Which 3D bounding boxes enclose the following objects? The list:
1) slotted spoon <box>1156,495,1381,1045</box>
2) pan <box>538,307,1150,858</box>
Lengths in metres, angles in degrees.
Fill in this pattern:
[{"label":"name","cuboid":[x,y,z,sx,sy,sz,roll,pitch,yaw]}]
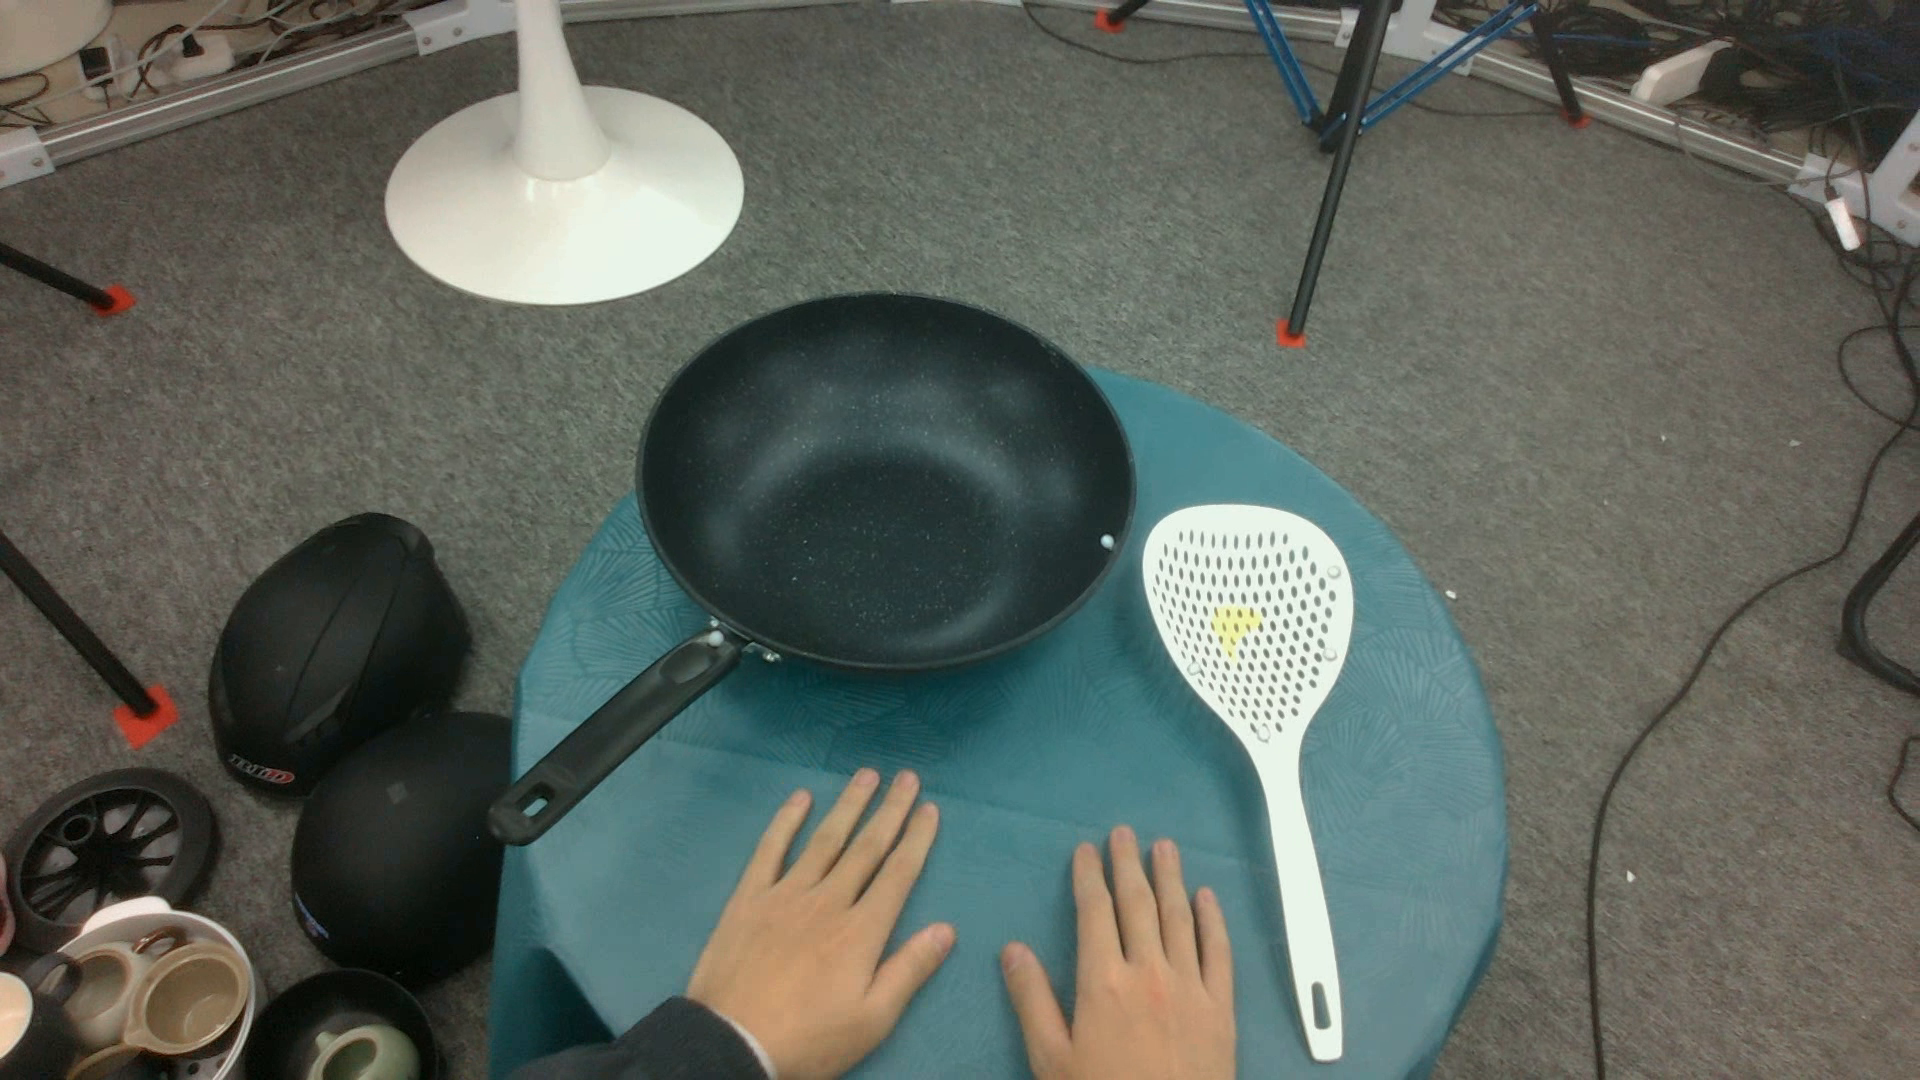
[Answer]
[{"label":"slotted spoon","cuboid":[0.200,0.120,0.825,0.137,0.050,0.349,-1,51,-5]},{"label":"pan","cuboid":[-0.078,0.028,0.846,0.310,0.111,0.479,25,54,18]}]
